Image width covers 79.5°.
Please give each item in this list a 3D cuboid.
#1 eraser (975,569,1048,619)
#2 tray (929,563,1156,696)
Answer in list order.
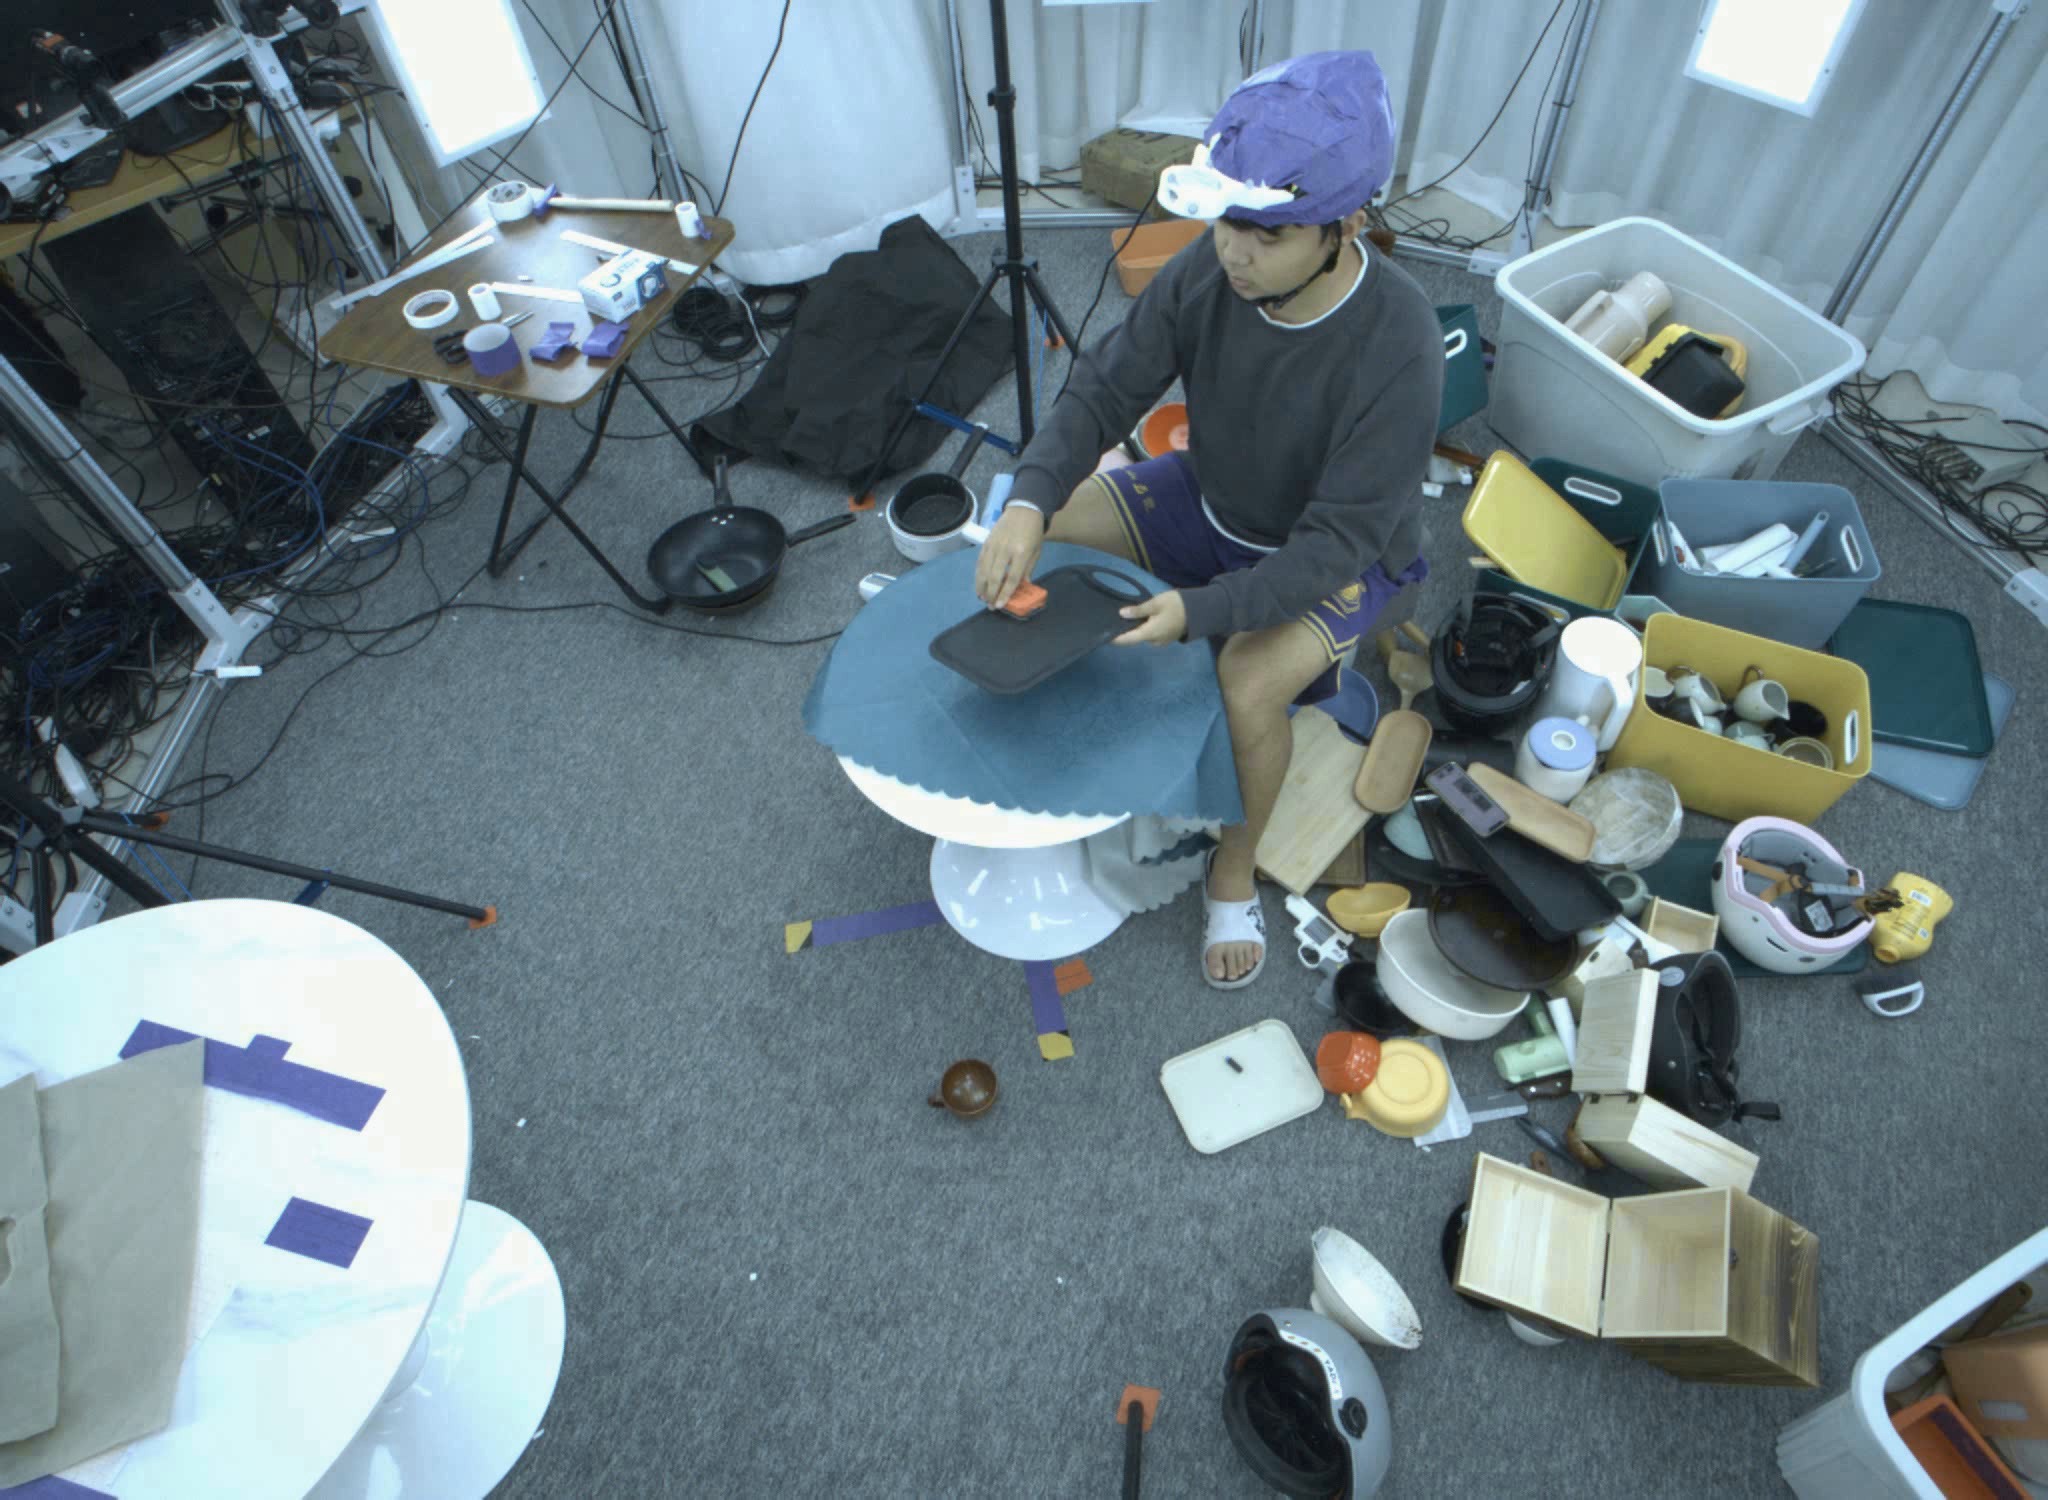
[{"bbox_3d":[-0.019,-0.233,1.826,0.105,0.023,0.059,31,54,35],"label":"eraser"},{"bbox_3d":[0.032,-0.186,1.784,0.328,0.010,0.206,-32,46,-26],"label":"tray"}]
